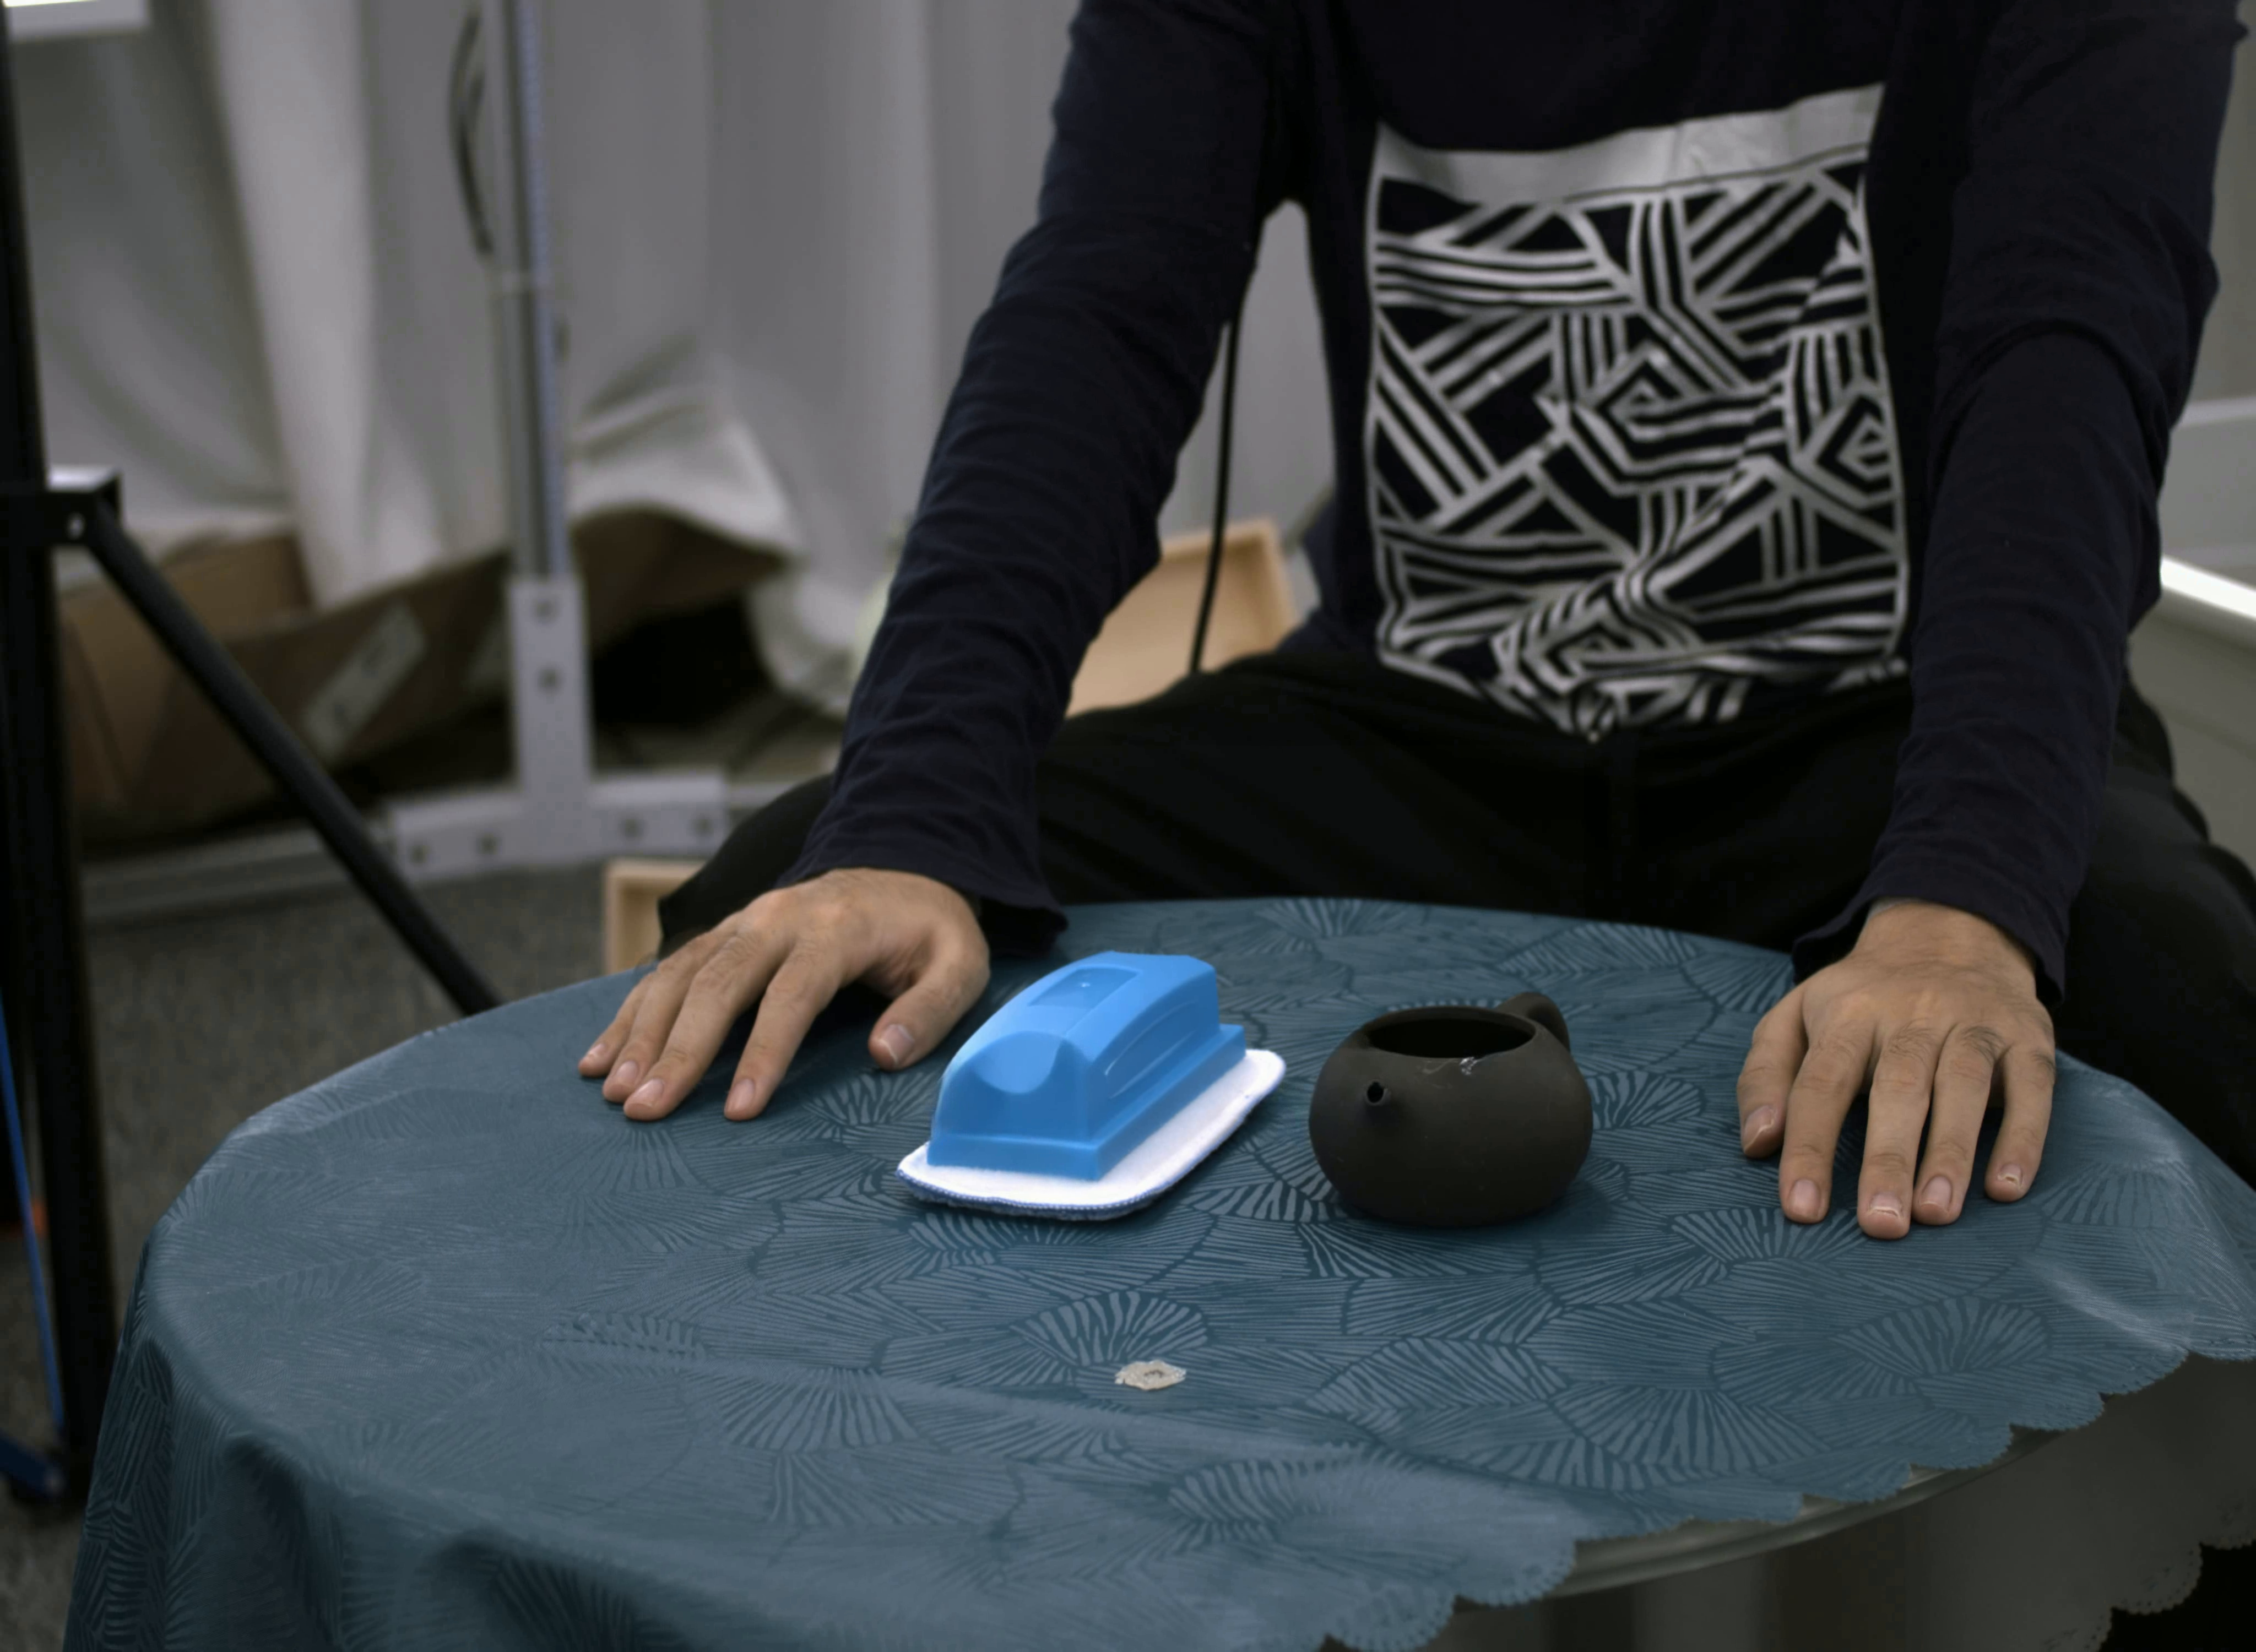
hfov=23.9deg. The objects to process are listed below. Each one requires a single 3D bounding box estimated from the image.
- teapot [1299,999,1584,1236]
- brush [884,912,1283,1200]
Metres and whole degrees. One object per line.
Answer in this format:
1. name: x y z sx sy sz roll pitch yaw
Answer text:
1. teapot: 0.098 0.082 1.548 0.084 0.053 0.112 13 24 34
2. brush: -0.011 0.065 1.602 0.085 0.056 0.142 9 21 23
